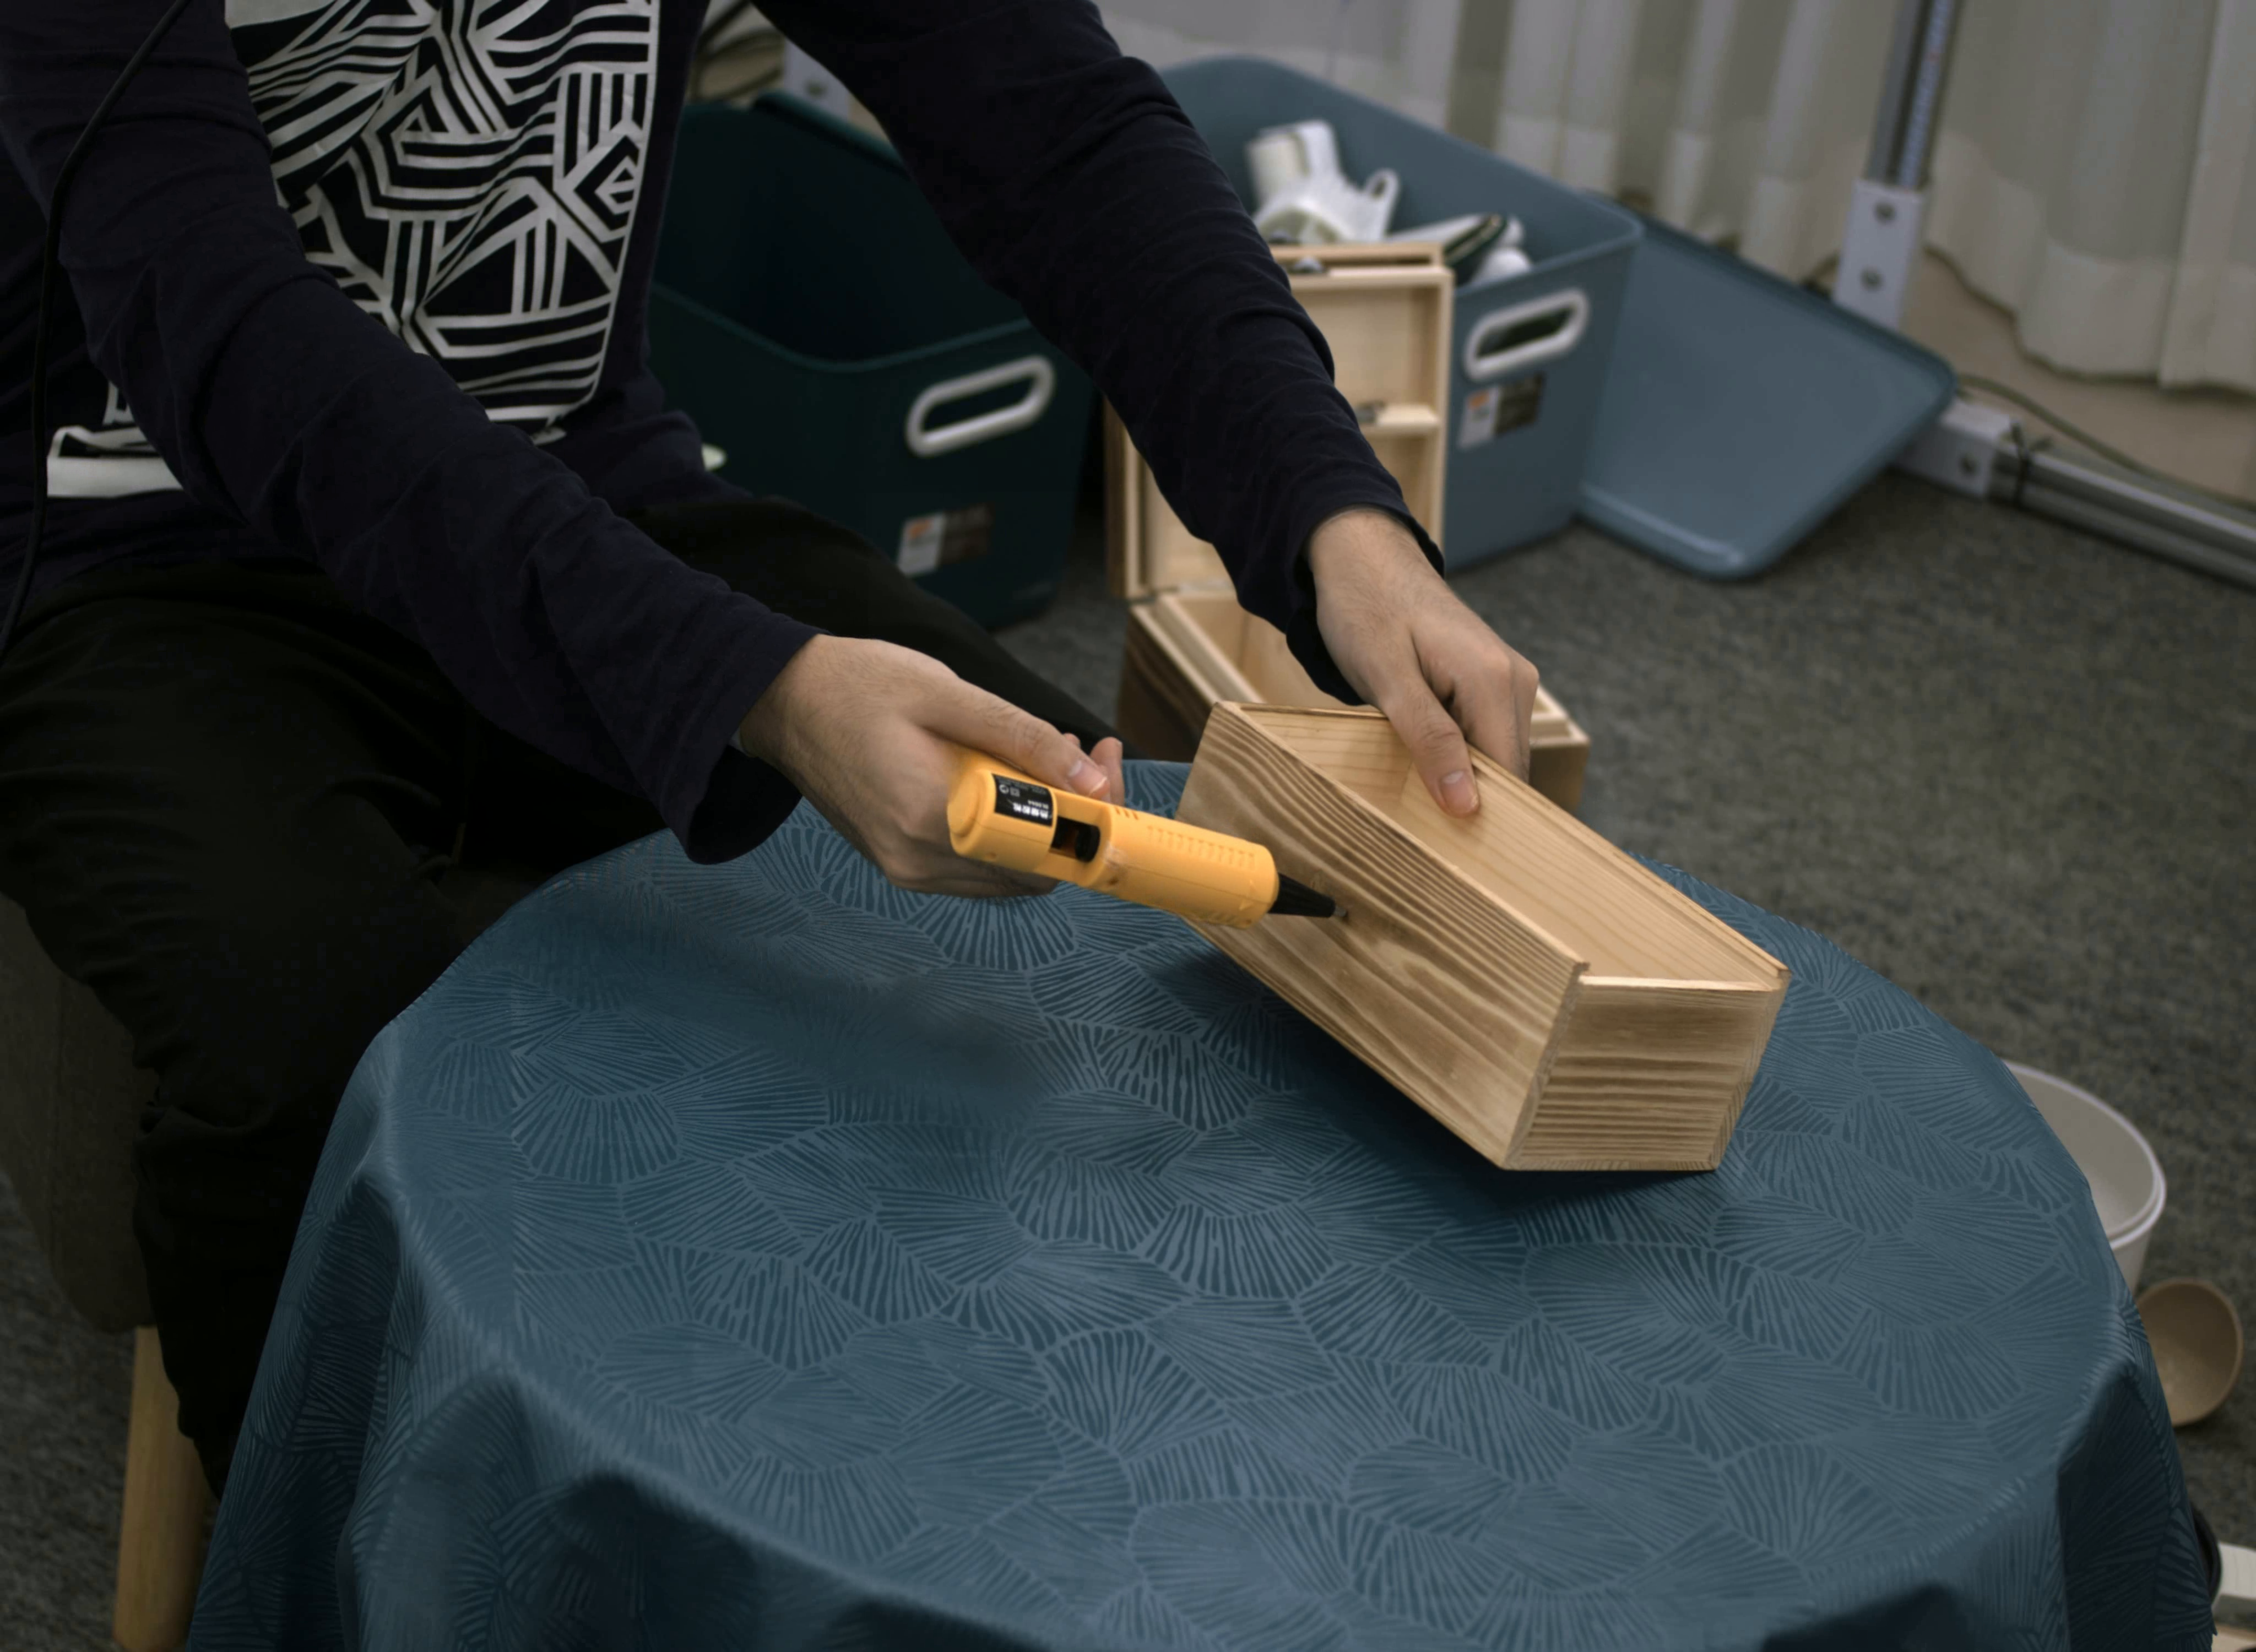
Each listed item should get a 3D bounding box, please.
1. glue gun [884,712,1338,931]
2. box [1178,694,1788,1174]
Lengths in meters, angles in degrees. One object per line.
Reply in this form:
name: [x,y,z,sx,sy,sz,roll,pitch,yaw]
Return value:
glue gun: [-0.004,0.001,1.877,0.150,0.031,0.134,18,9,-18]
box: [0.119,0.037,1.894,0.106,0.080,0.213,4,23,-39]
